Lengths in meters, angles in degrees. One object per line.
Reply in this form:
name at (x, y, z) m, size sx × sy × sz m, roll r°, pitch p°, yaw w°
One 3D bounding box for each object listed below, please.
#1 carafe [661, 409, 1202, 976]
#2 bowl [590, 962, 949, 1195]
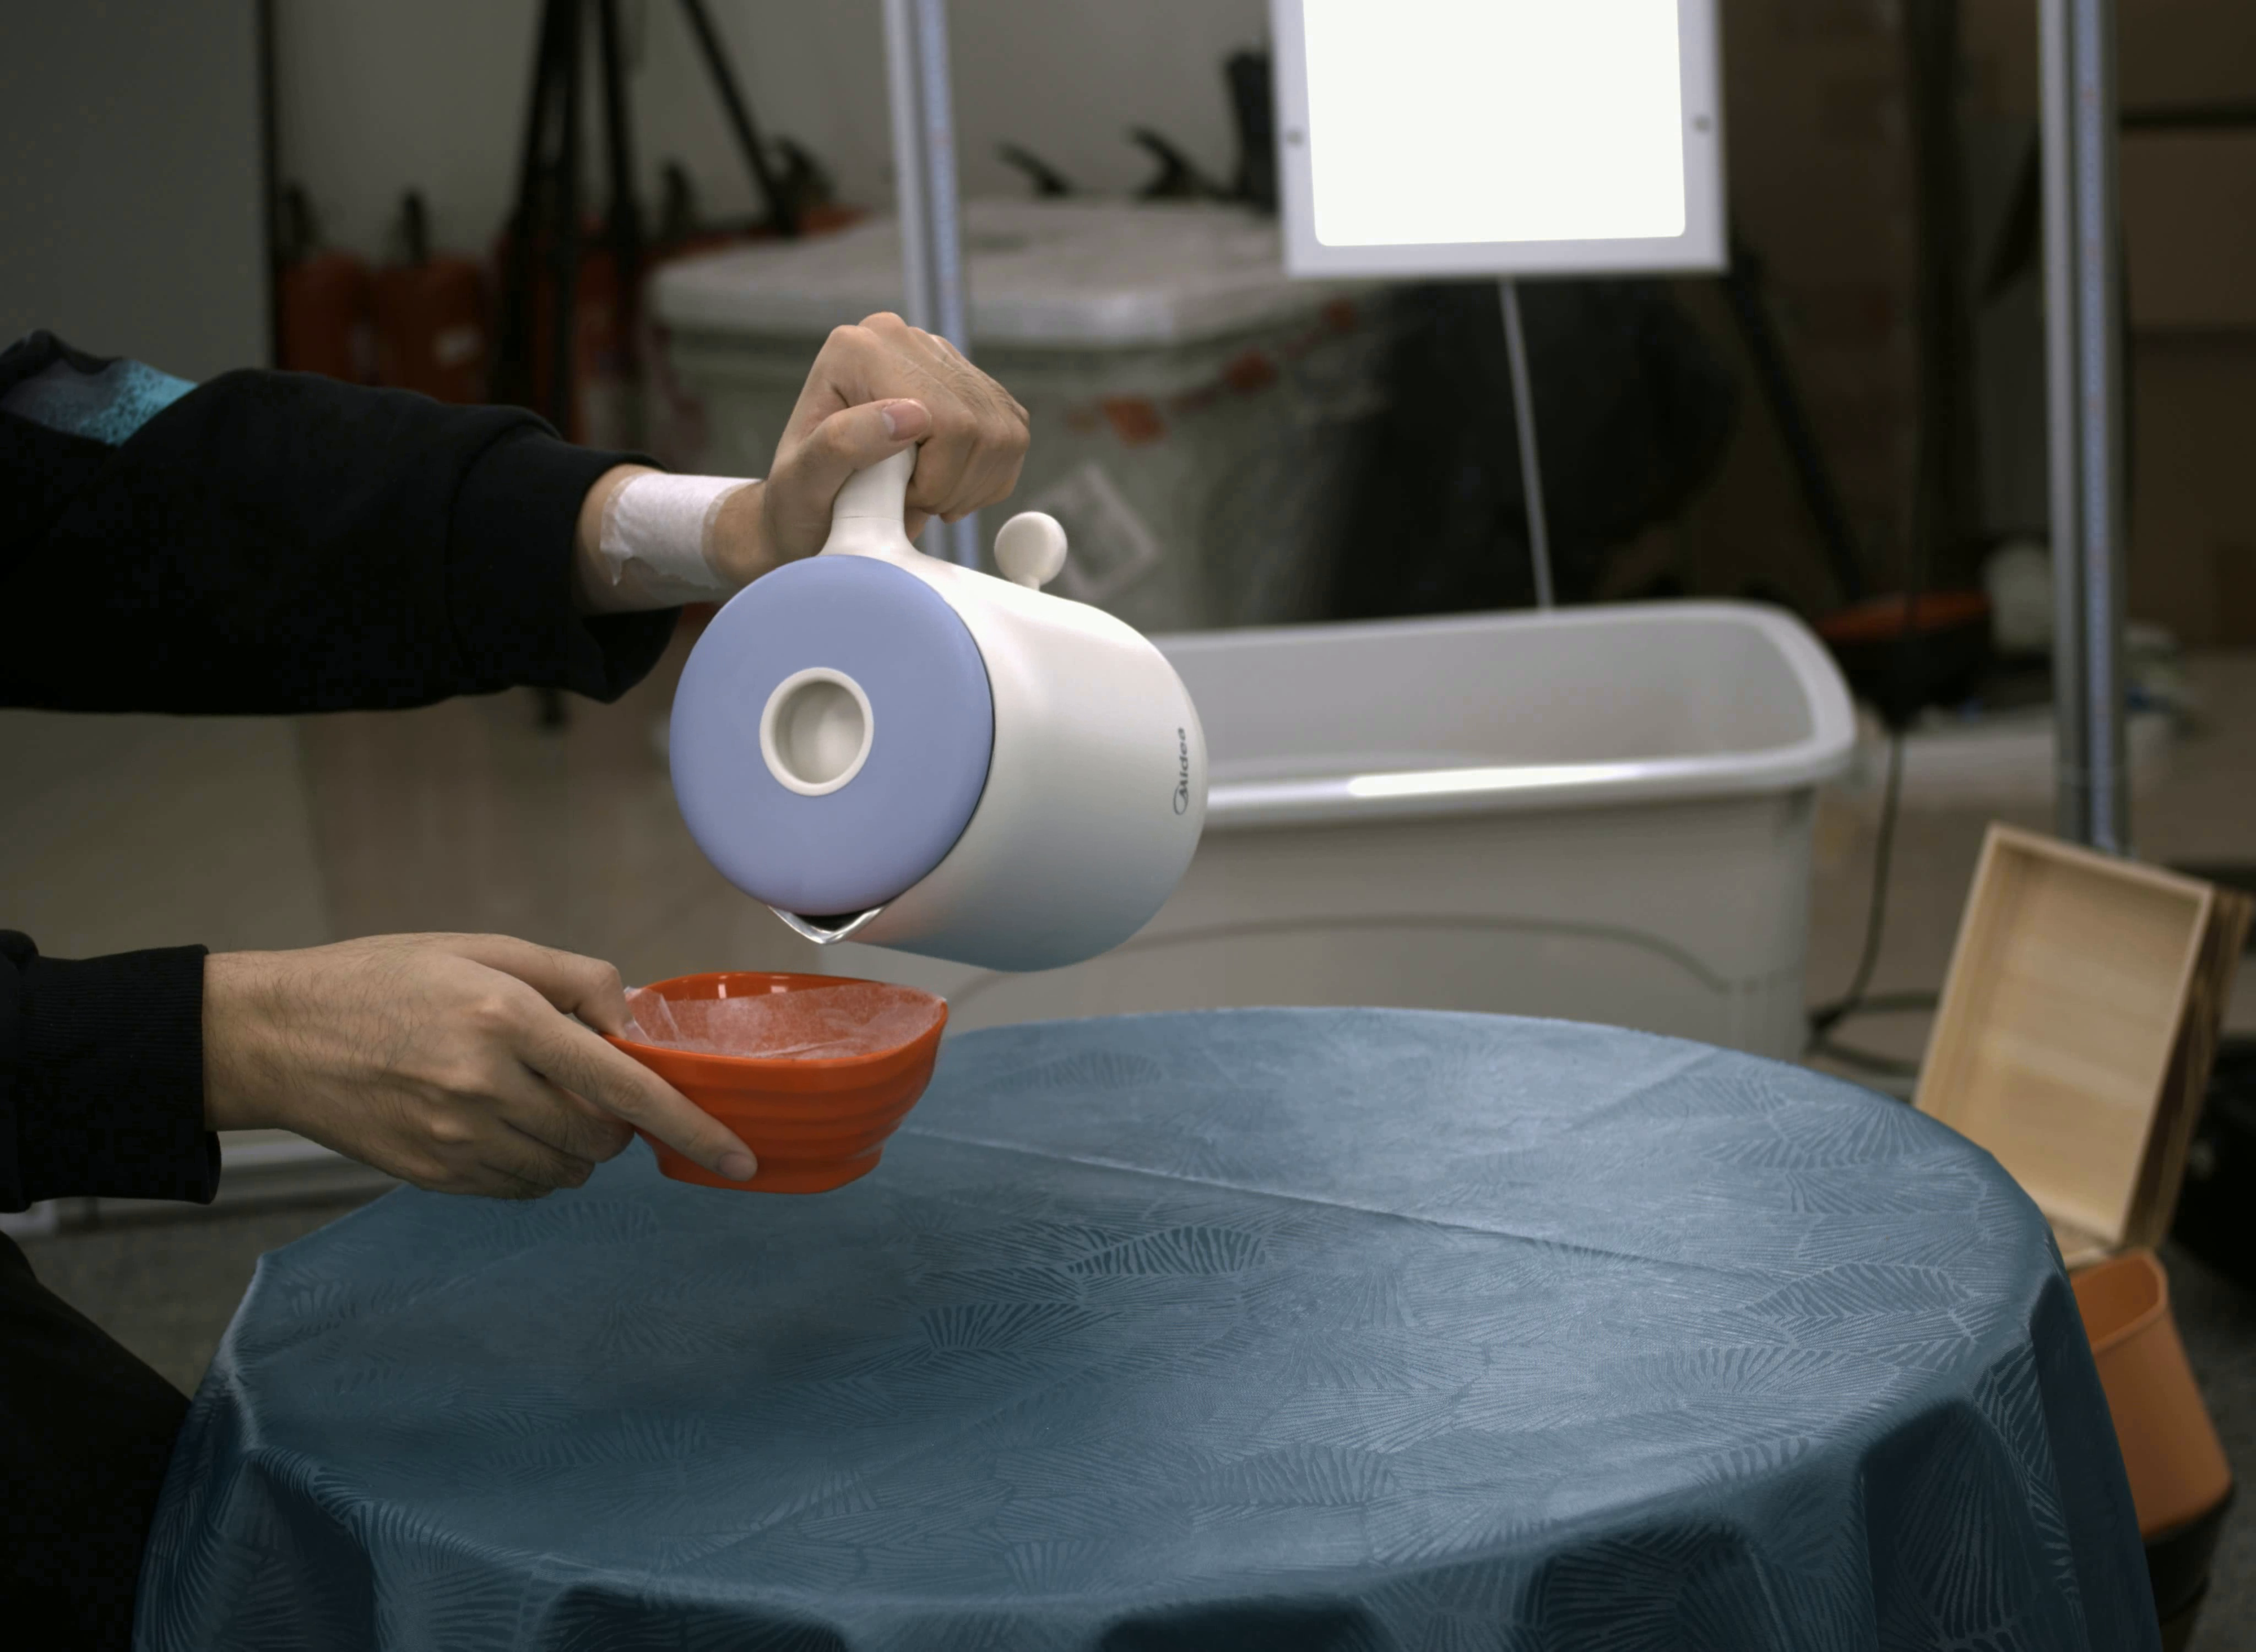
carafe at (-0.065, -0.046, 1.857) m, size 0.134 × 0.191 × 0.179 m, roll -5°, pitch -10°, yaw 25°
bowl at (-0.115, 0.083, 1.769) m, size 0.118 × 0.051 × 0.119 m, roll 1°, pitch 15°, yaw -2°
